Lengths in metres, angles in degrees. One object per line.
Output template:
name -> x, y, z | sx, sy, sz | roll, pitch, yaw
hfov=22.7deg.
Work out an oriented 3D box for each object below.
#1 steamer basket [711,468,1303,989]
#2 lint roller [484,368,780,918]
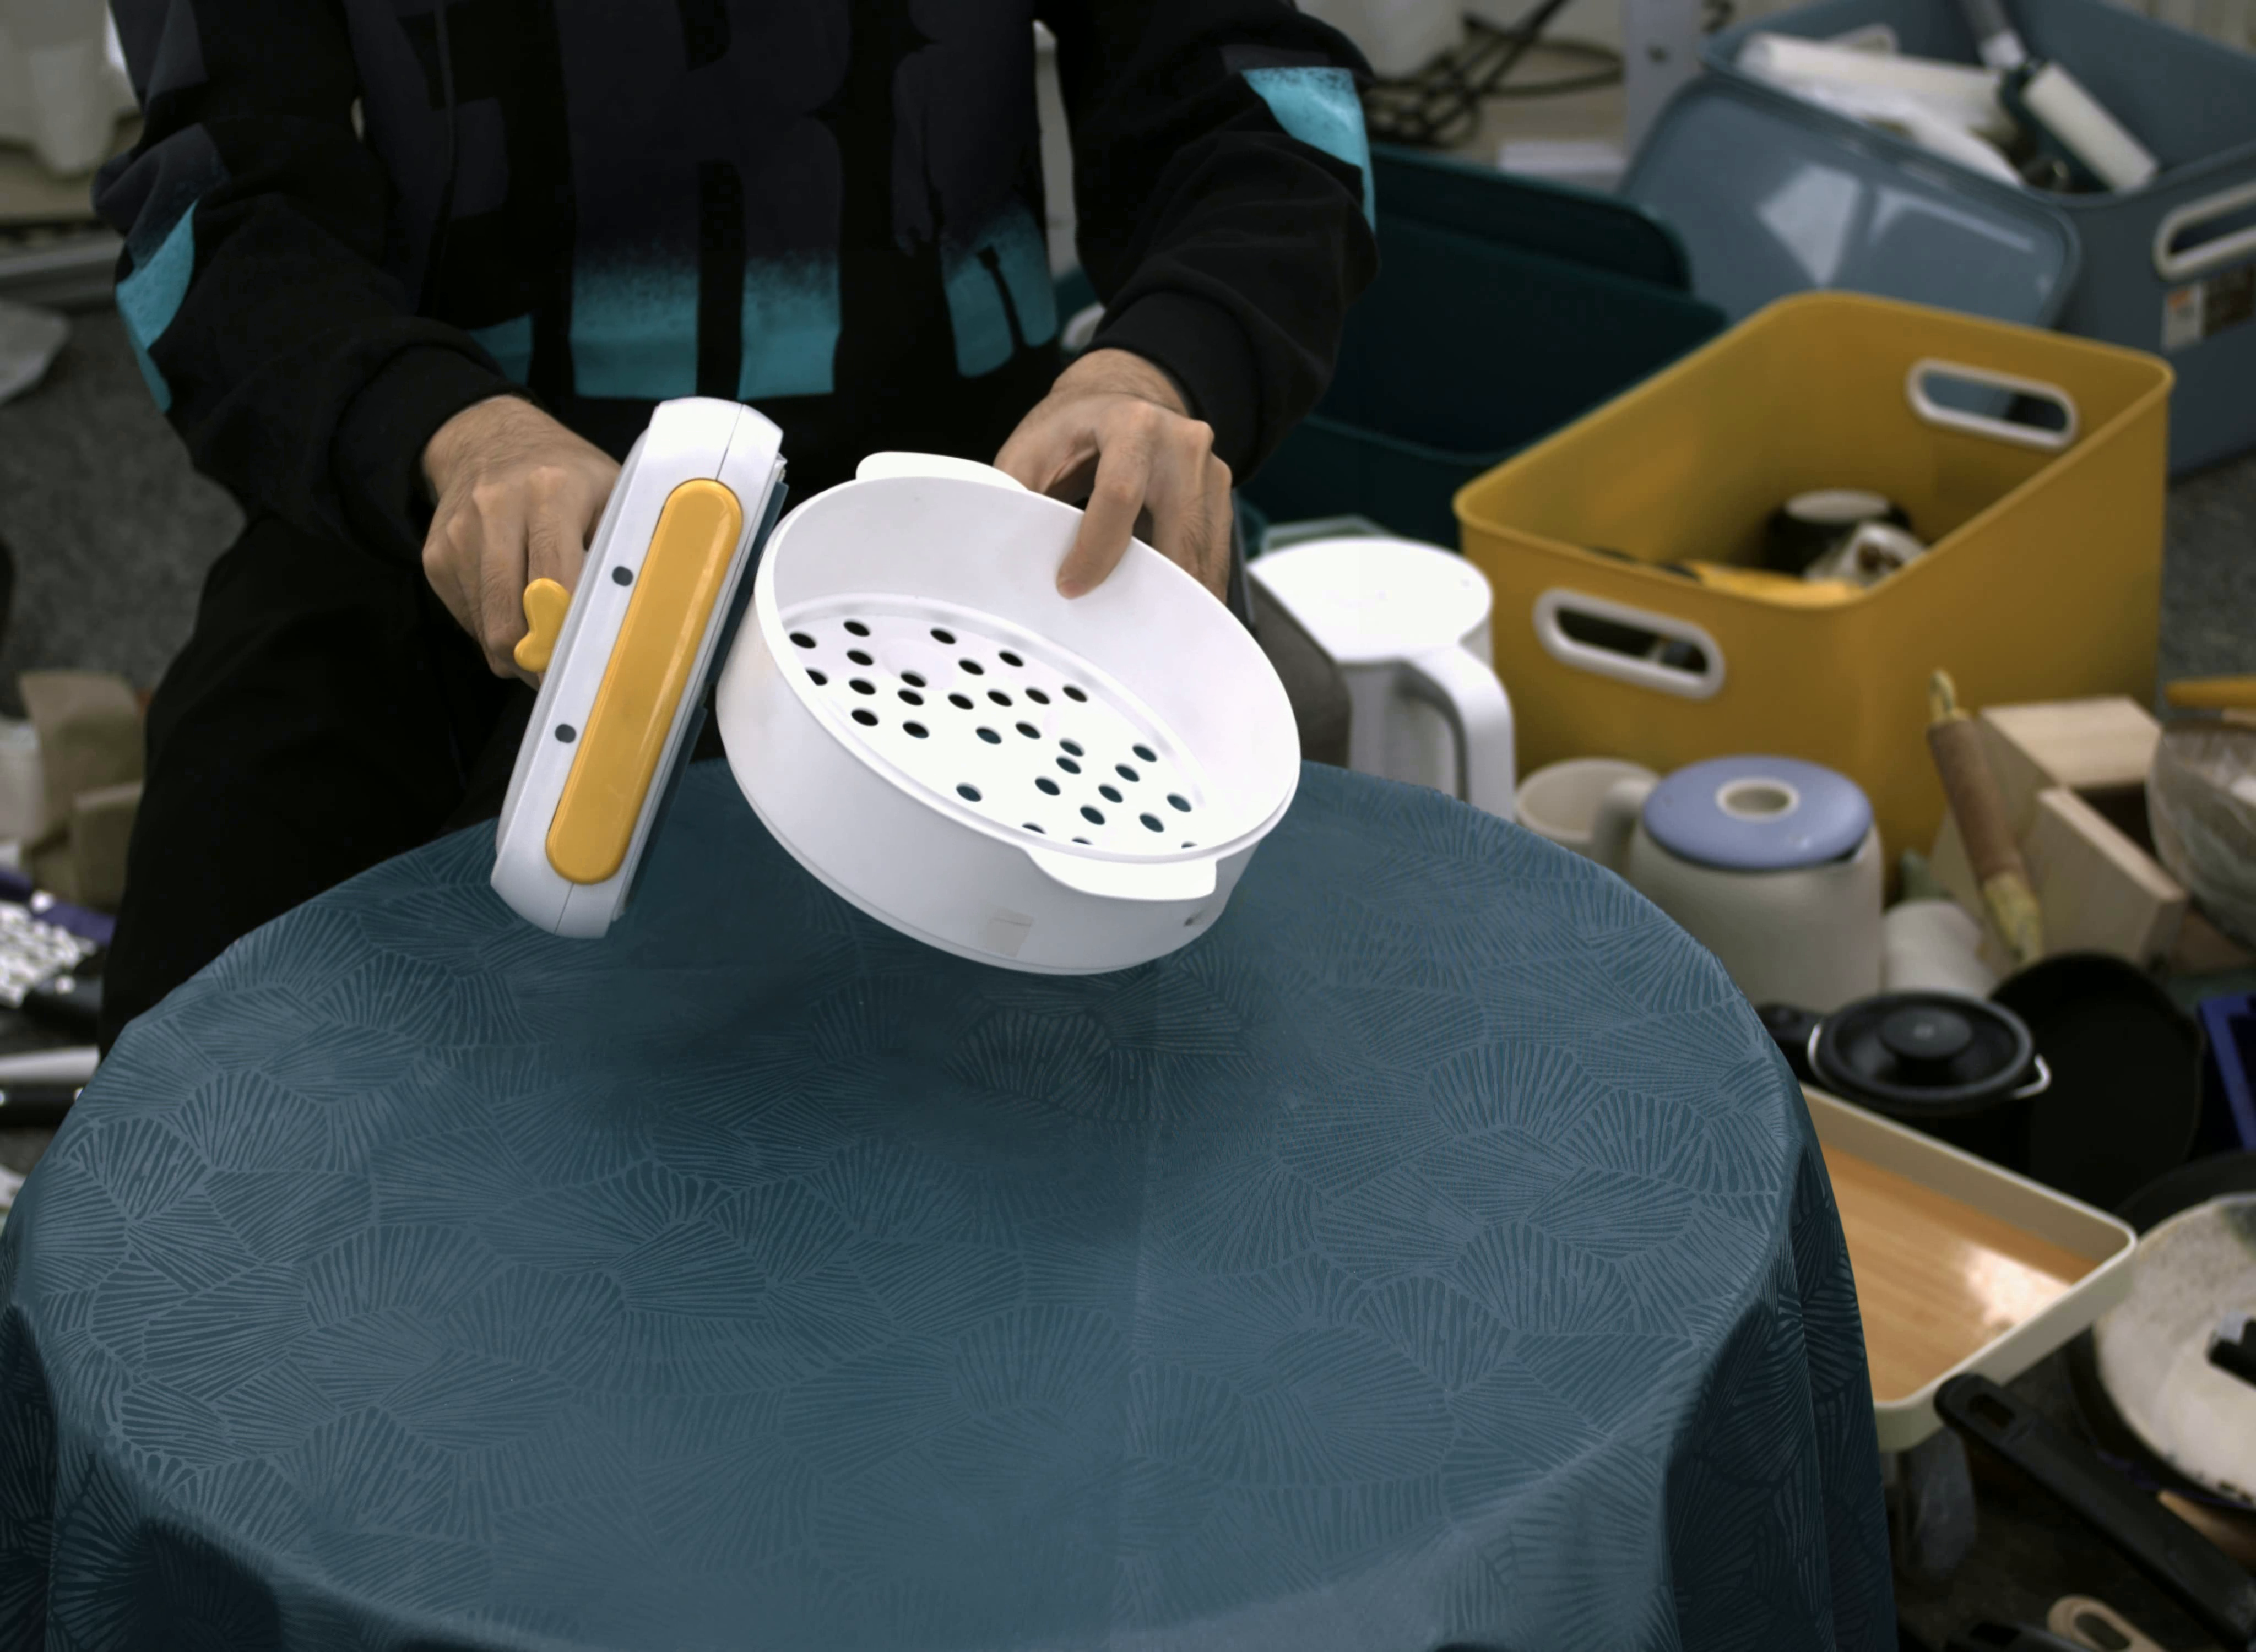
steamer basket -> -0.043, -0.030, 1.924 | 0.202, 0.068, 0.234 | 6, 37, -30
lint roller -> -0.186, -0.072, 1.978 | 0.074, 0.193, 0.192 | 14, 4, -14
